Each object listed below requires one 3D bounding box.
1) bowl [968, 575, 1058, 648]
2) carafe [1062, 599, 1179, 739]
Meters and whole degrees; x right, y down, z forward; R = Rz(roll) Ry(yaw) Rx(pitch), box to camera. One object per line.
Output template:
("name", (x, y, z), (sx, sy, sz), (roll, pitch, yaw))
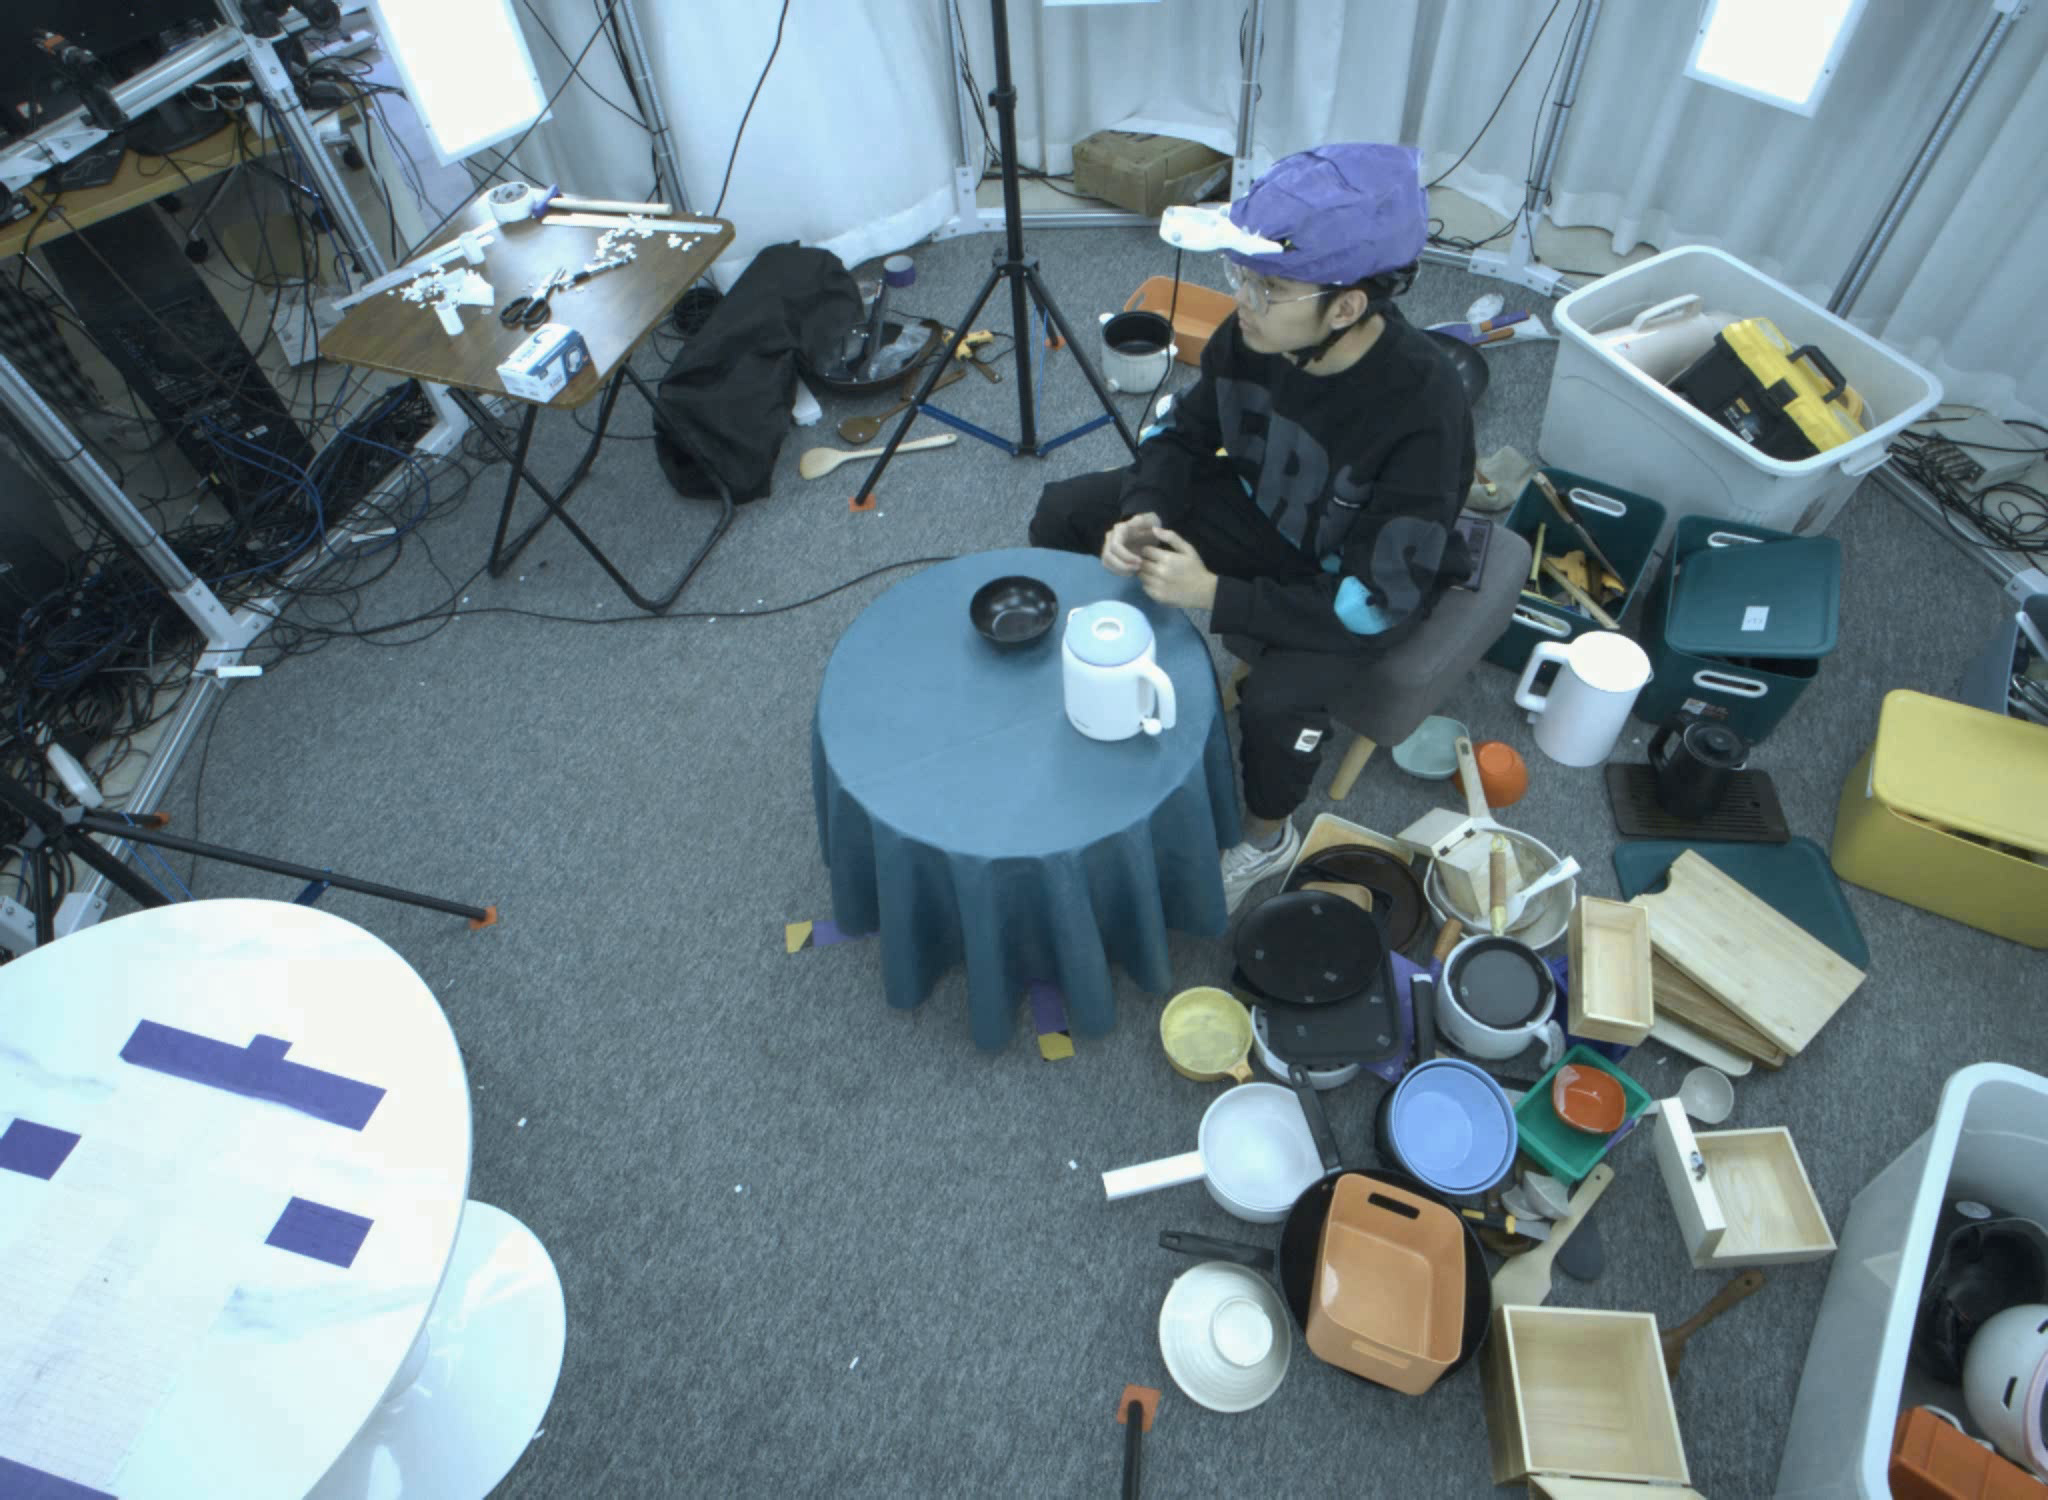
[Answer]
("bowl", (-0.016, -0.205, 1.900), (0.140, 0.050, 0.138), (0, 52, 1))
("carafe", (0.140, -0.101, 1.745), (0.188, 0.184, 0.133), (35, 65, 22))
